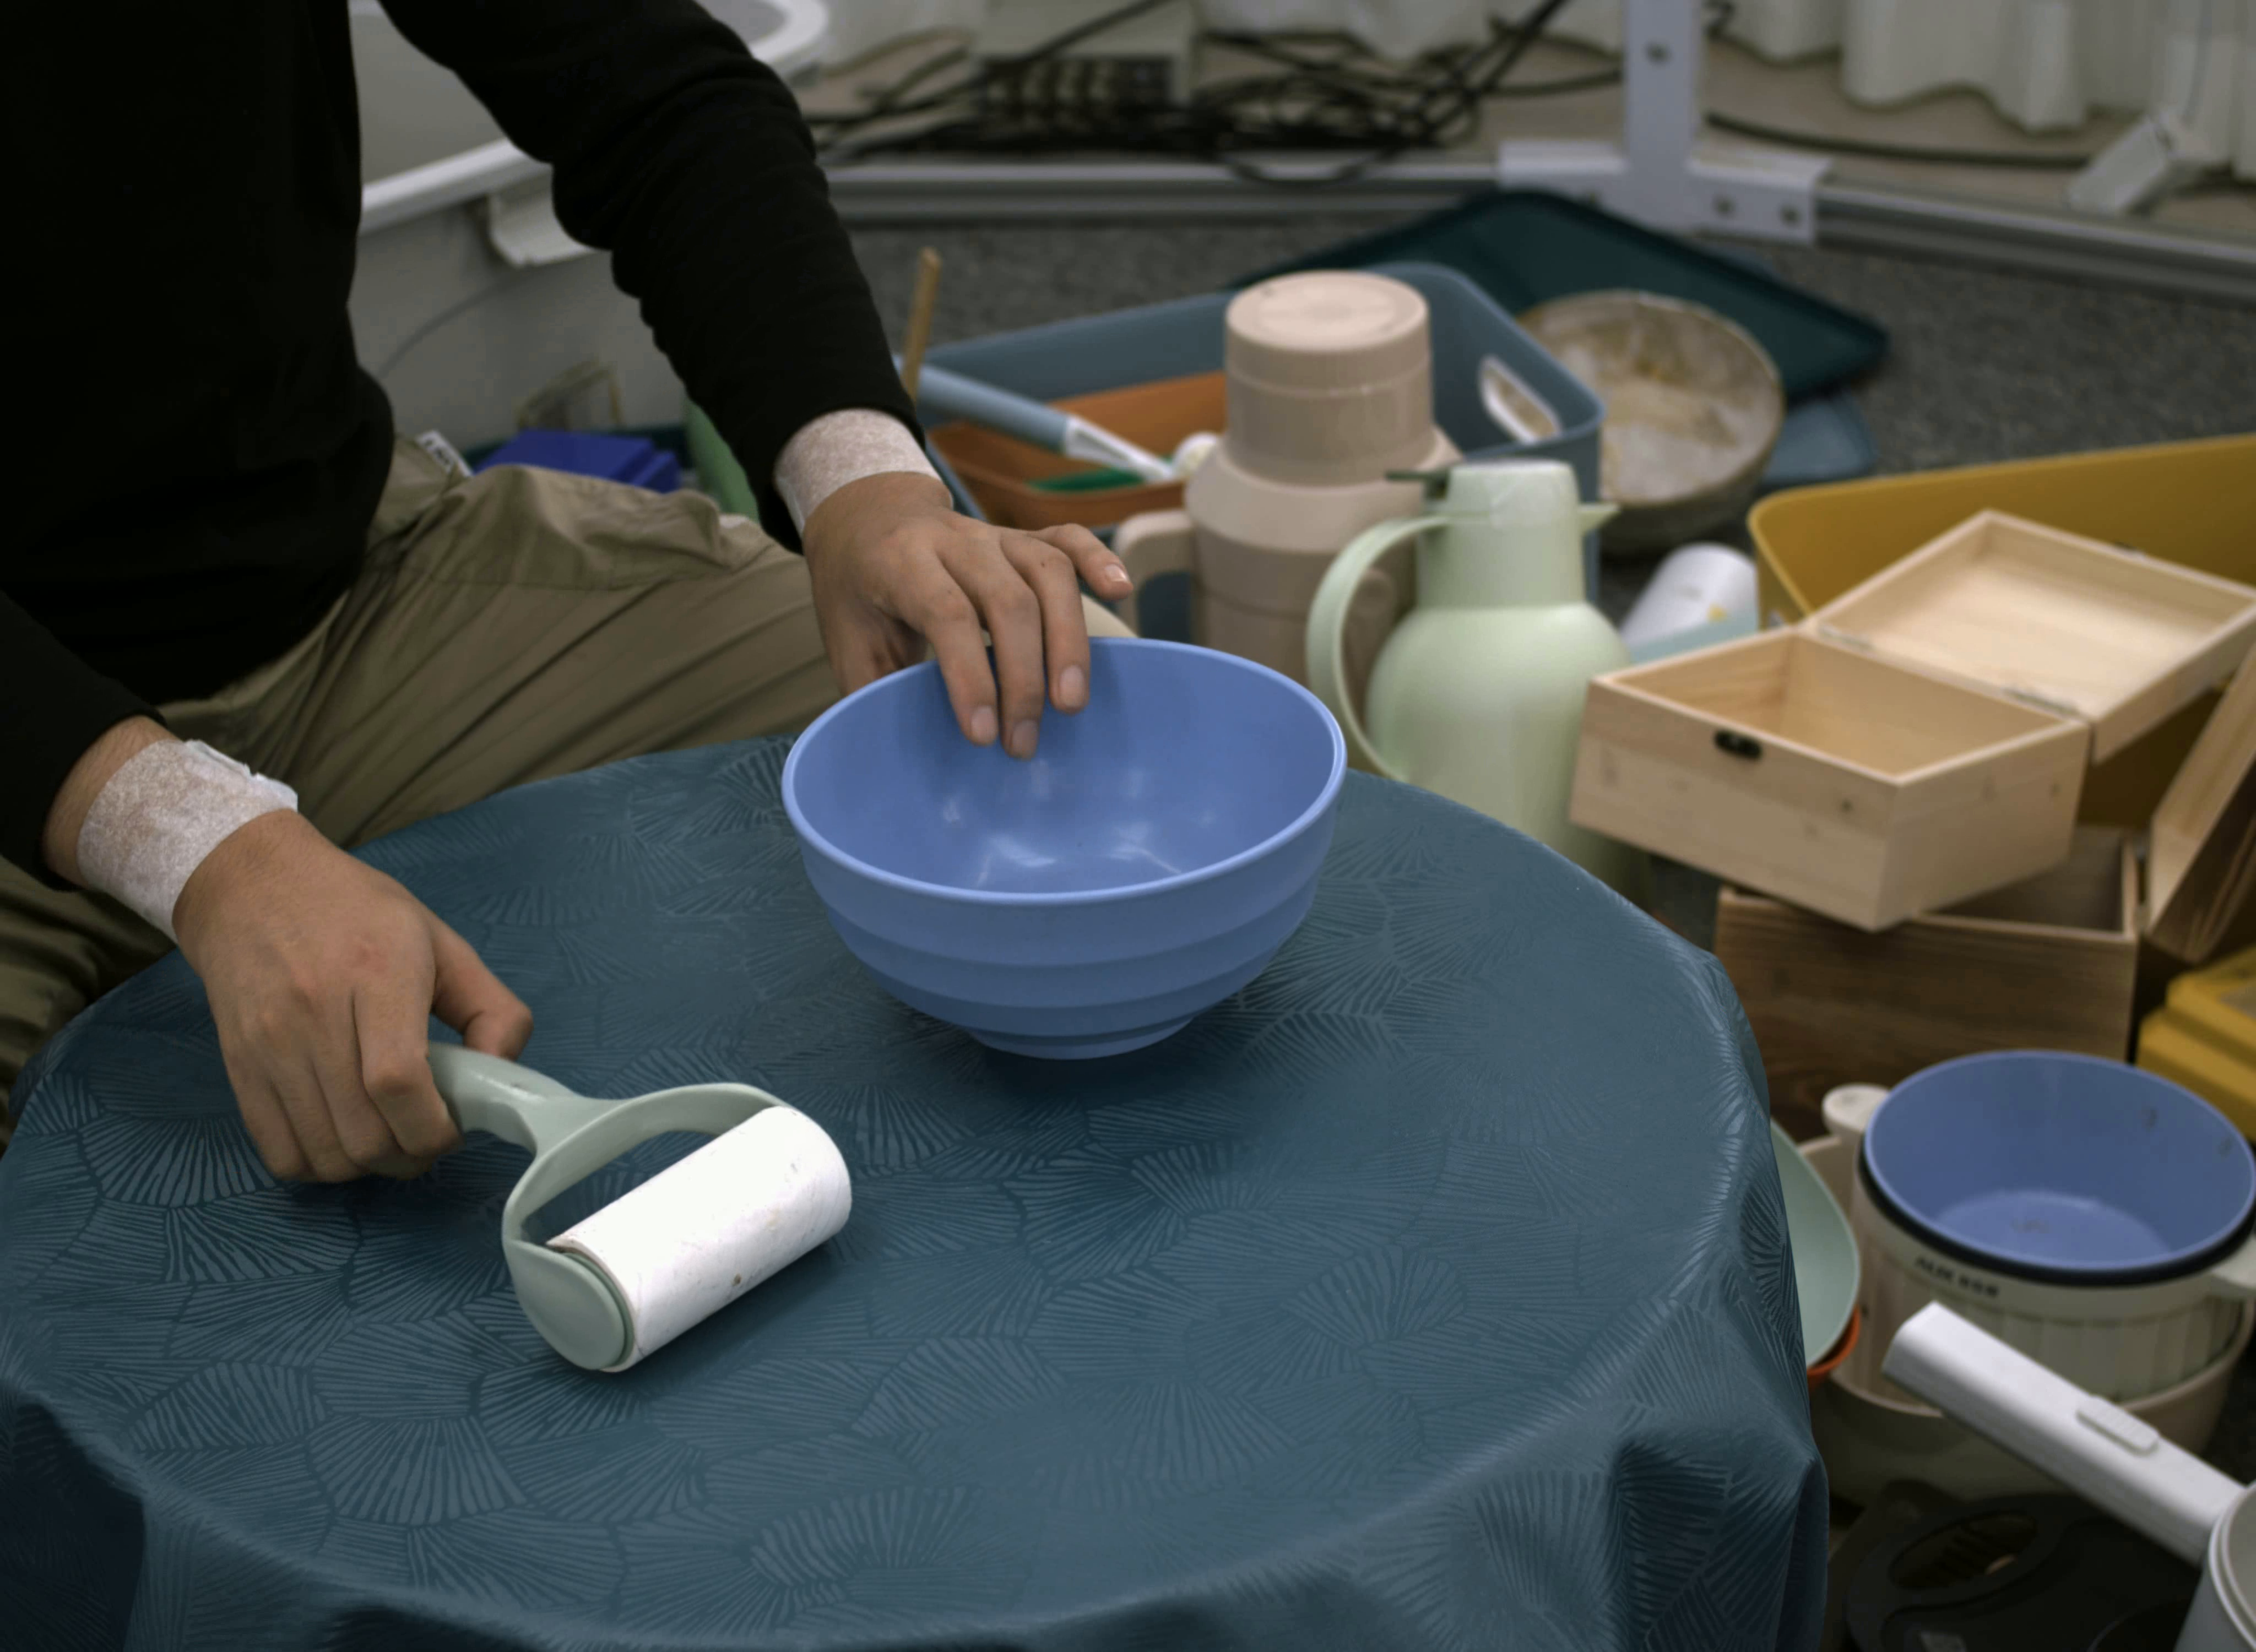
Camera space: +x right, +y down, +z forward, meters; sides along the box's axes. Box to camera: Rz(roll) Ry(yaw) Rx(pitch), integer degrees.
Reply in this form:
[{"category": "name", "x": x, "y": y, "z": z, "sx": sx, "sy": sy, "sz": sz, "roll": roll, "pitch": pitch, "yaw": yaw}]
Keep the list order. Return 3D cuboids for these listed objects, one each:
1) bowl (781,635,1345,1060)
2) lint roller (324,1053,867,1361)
[{"category": "bowl", "x": -0.019, "y": 0.018, "z": 1.960, "sx": 0.195, "sy": 0.094, "sz": 0.199, "roll": -3, "pitch": 28, "yaw": 2}, {"category": "lint roller", "x": -0.190, "y": 0.105, "z": 1.847, "sx": 0.197, "sy": 0.048, "sz": 0.118, "roll": 23, "pitch": 39, "yaw": 32}]
